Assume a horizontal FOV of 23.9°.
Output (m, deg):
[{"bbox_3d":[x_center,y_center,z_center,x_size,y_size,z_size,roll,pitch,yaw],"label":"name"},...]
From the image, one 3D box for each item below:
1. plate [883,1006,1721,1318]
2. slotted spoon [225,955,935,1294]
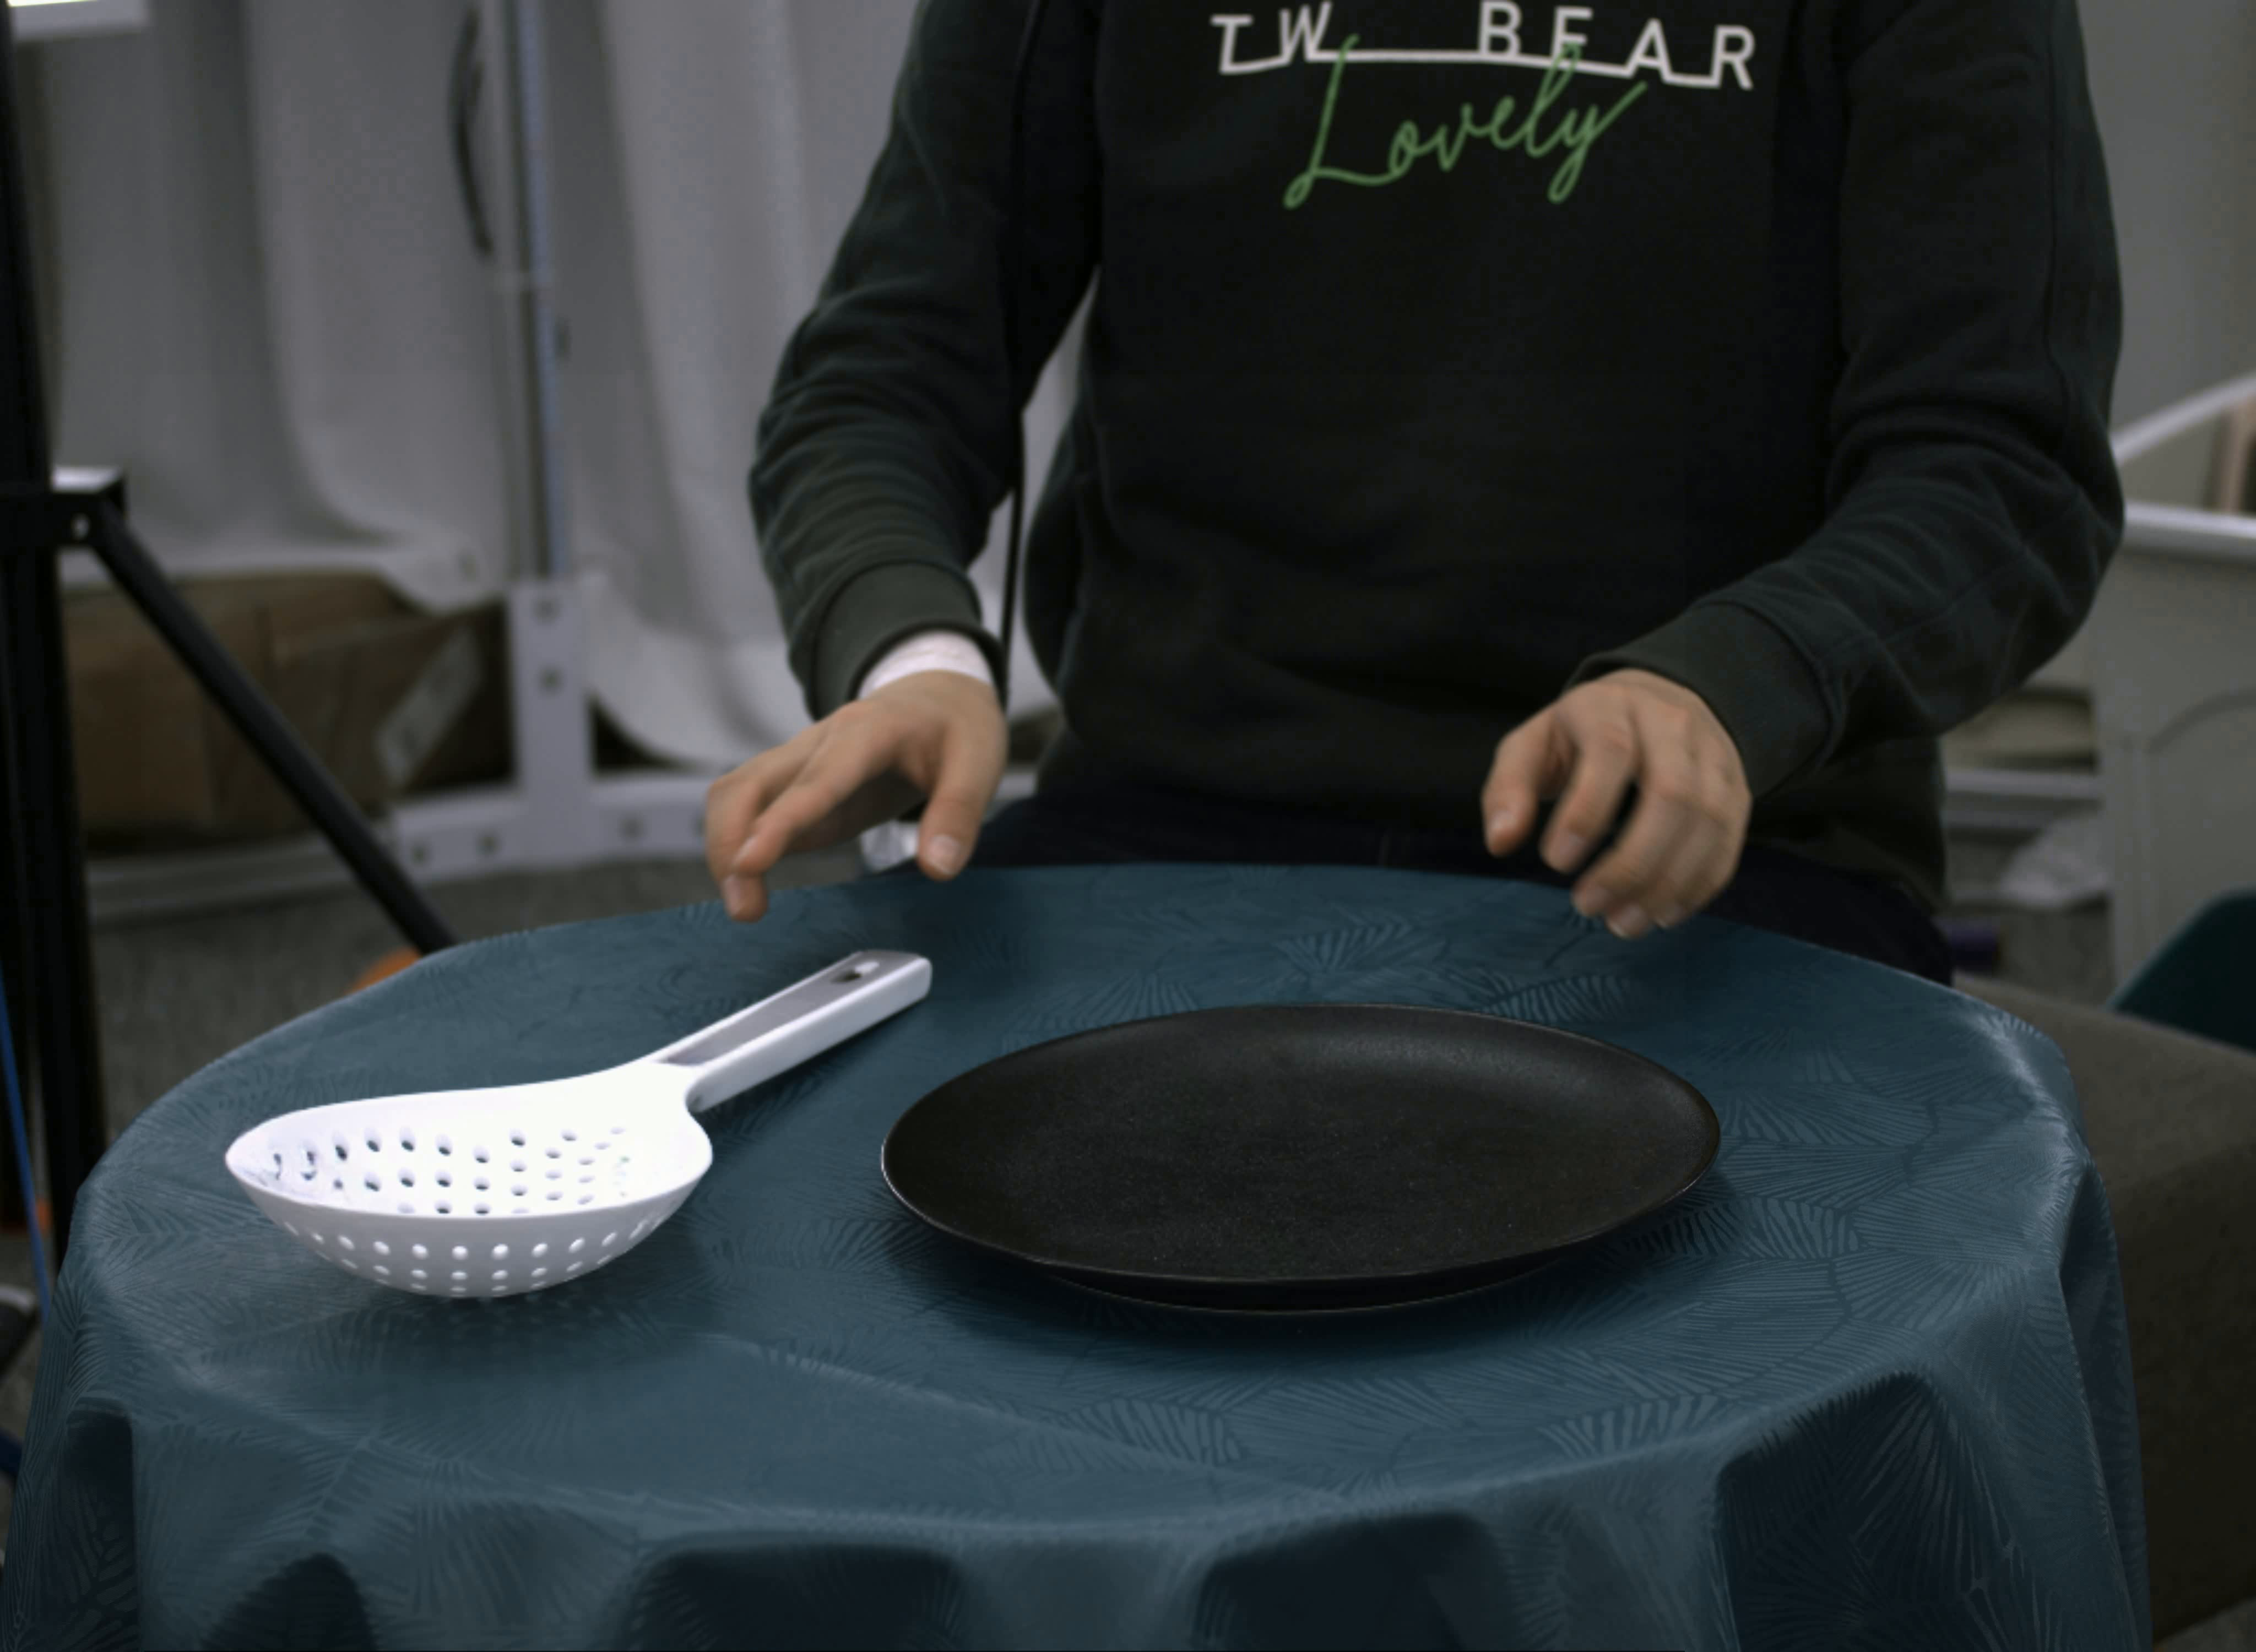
[{"bbox_3d":[0.051,0.099,1.538,0.243,0.023,0.245,-3,16,-1],"label":"plate"},{"bbox_3d":[-0.143,0.080,1.598,0.138,0.046,0.344,7,17,23],"label":"slotted spoon"}]
